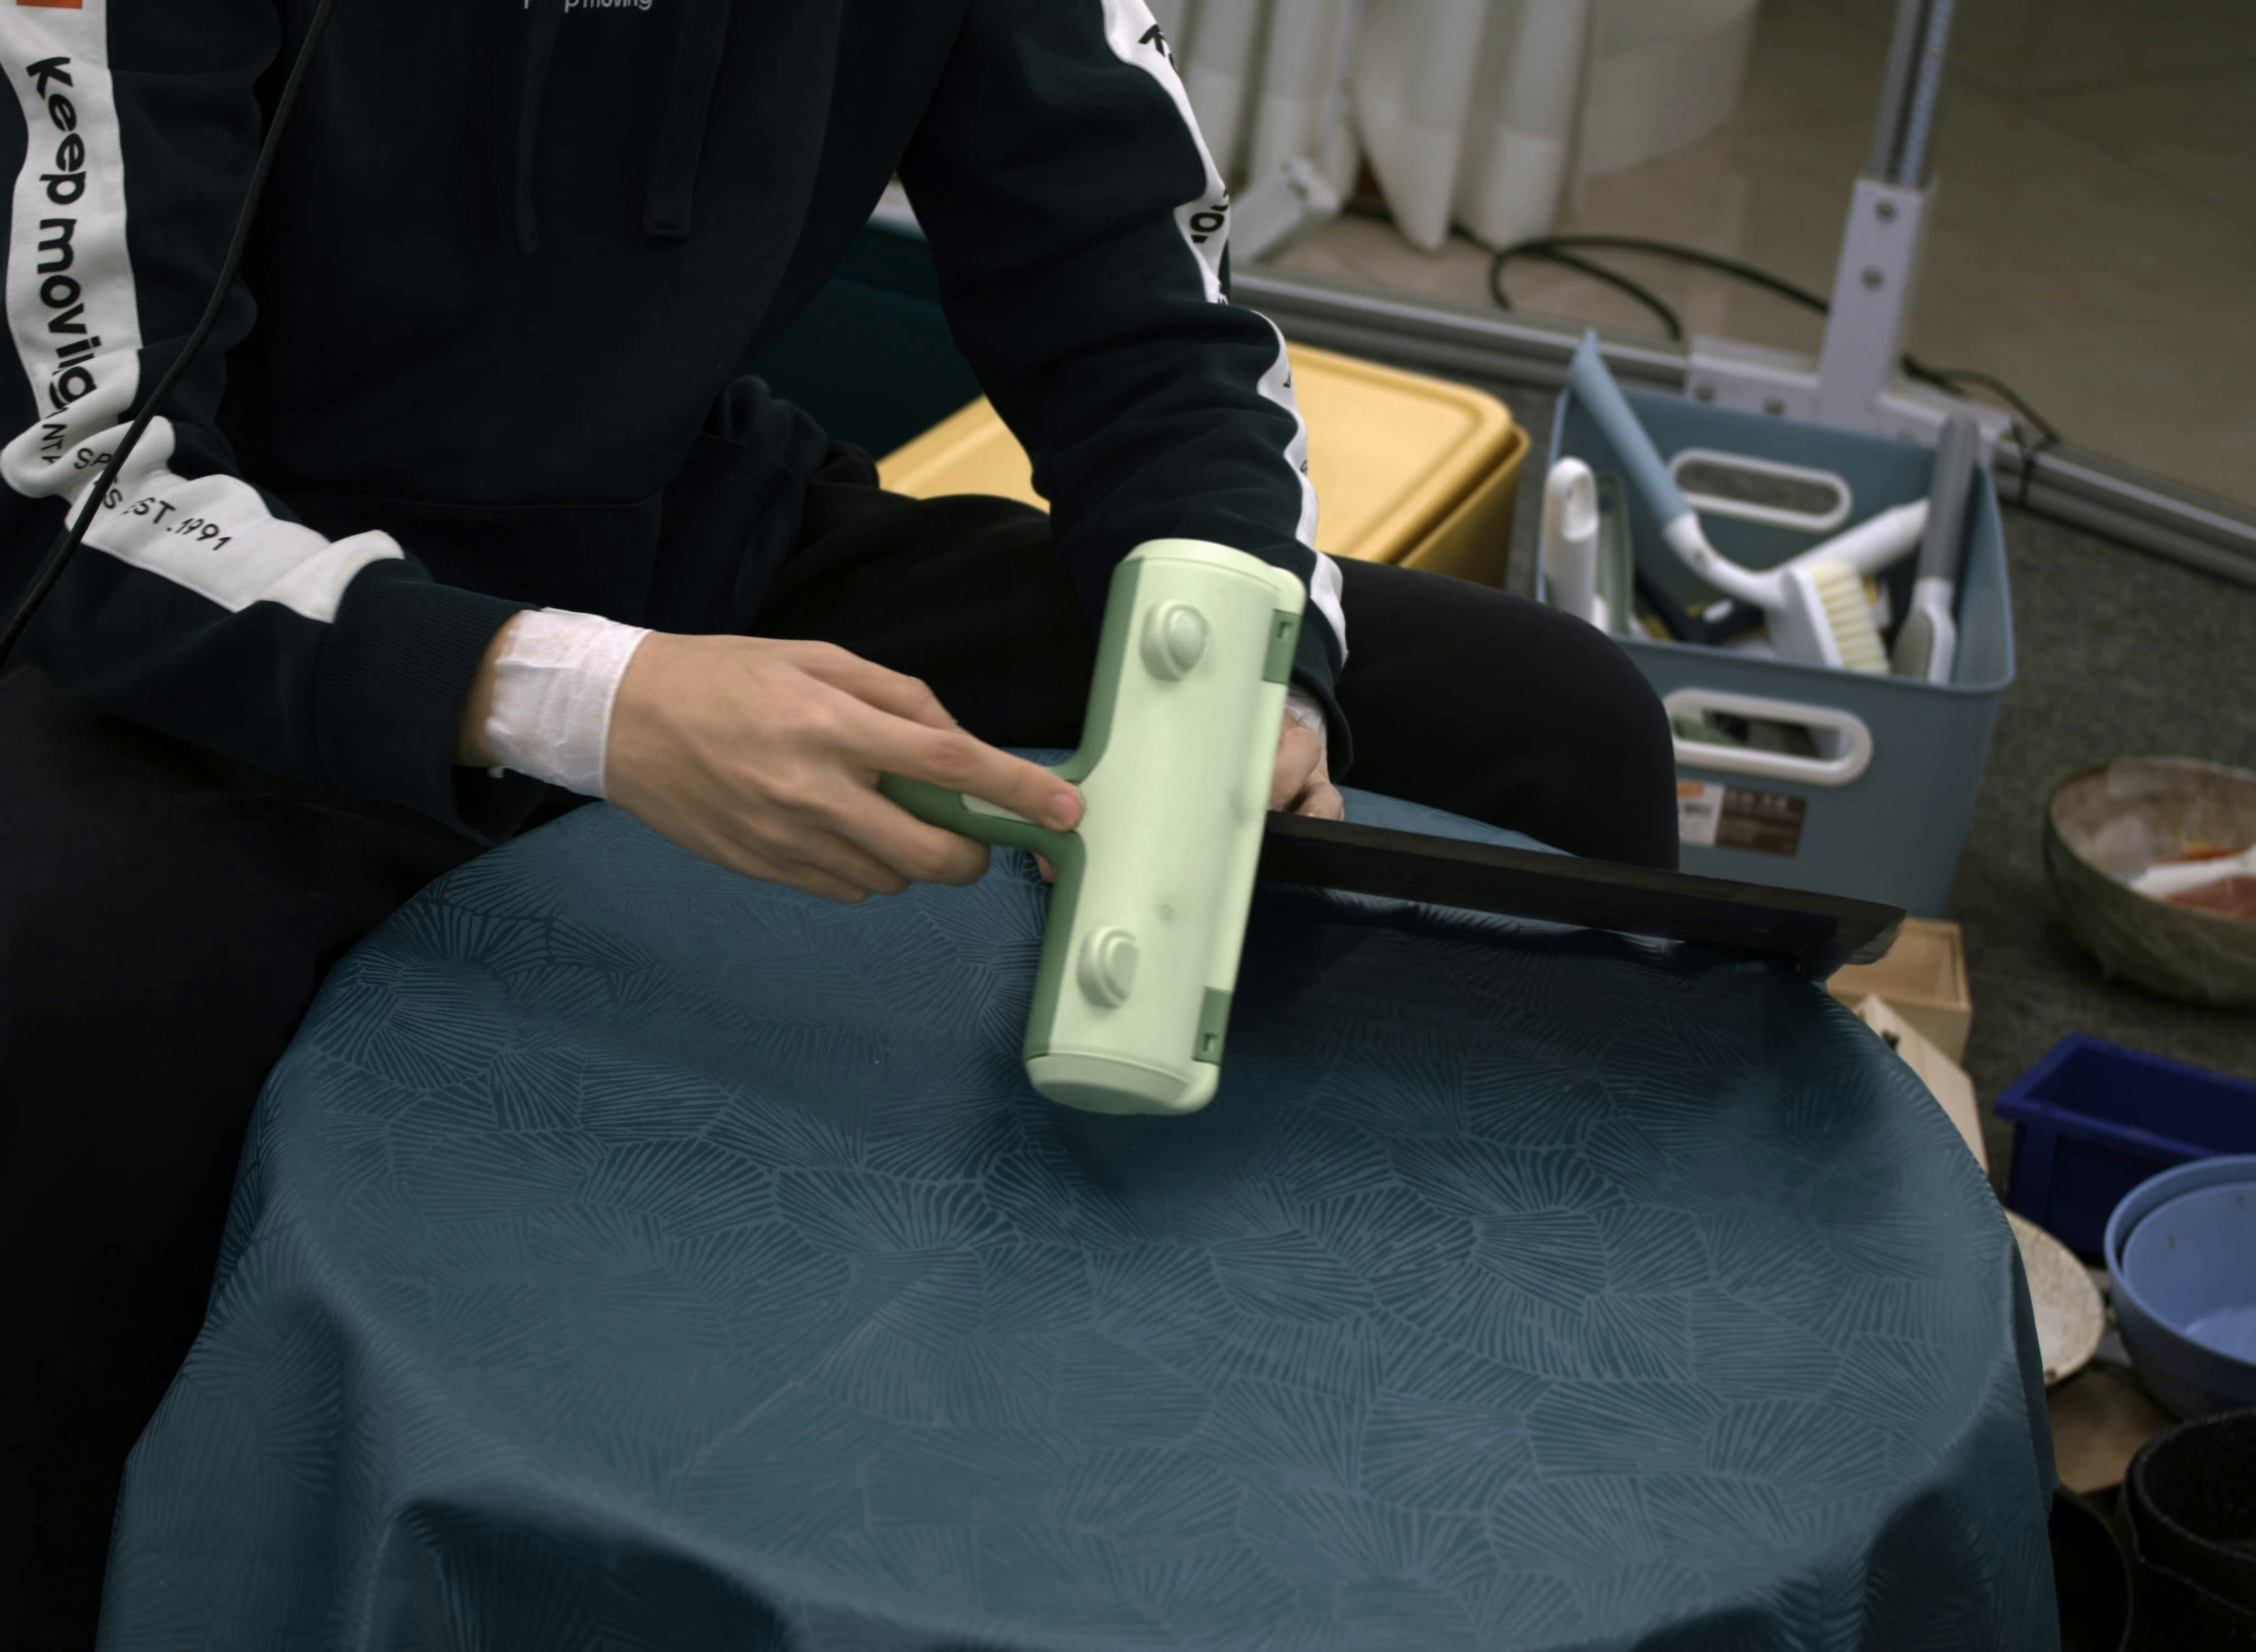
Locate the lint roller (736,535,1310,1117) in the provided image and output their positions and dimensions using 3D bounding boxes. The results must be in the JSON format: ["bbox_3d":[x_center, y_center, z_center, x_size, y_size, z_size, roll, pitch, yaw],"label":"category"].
[{"bbox_3d":[-0.043,-0.013,1.805,0.183,0.199,0.082,11,-15,-1],"label":"lint roller"}]

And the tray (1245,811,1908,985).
[{"bbox_3d":[0.122,0.023,1.919,0.305,0.019,0.170,8,-6,4],"label":"tray"}]
